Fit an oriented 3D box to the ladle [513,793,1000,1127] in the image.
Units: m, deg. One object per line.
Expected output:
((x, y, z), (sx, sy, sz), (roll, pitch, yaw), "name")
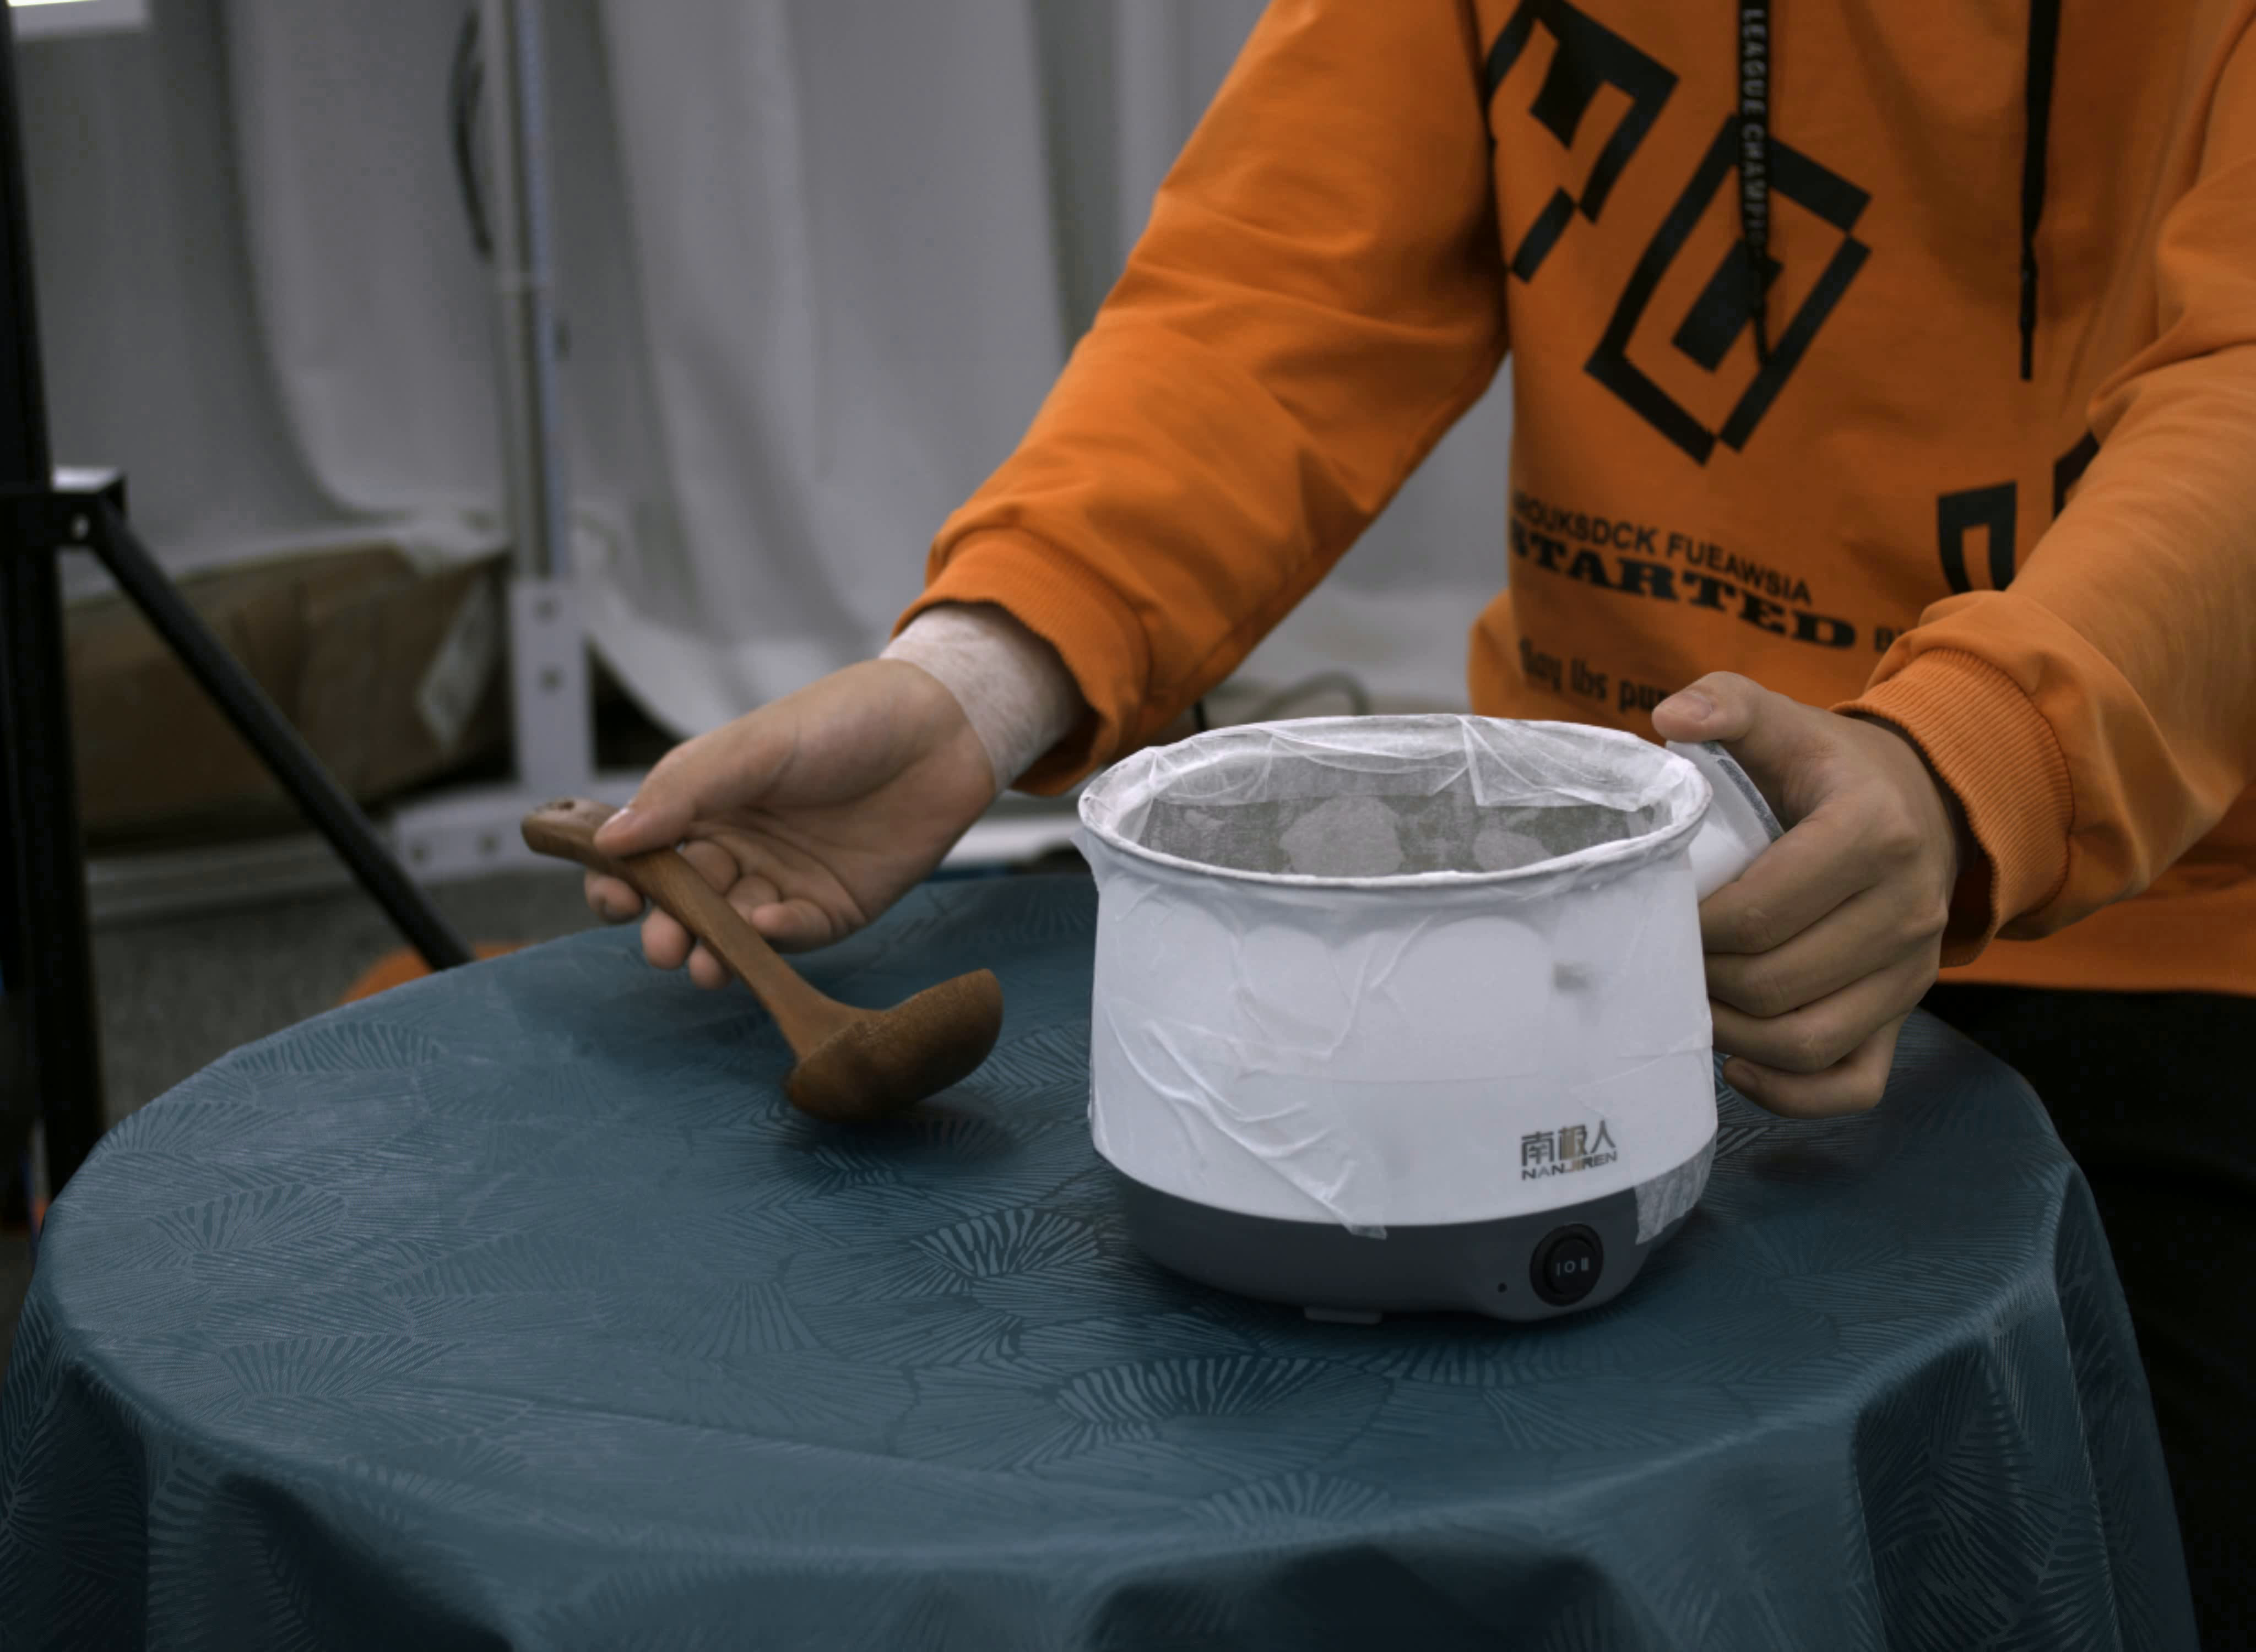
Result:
((-0.128, 0.027, 1.692), (0.075, 0.065, 0.266), (-17, 34, -28), "ladle")

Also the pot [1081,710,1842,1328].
((0.101, 0.048, 1.501), (0.229, 0.136, 0.182), (-10, 18, -27), "pot")
